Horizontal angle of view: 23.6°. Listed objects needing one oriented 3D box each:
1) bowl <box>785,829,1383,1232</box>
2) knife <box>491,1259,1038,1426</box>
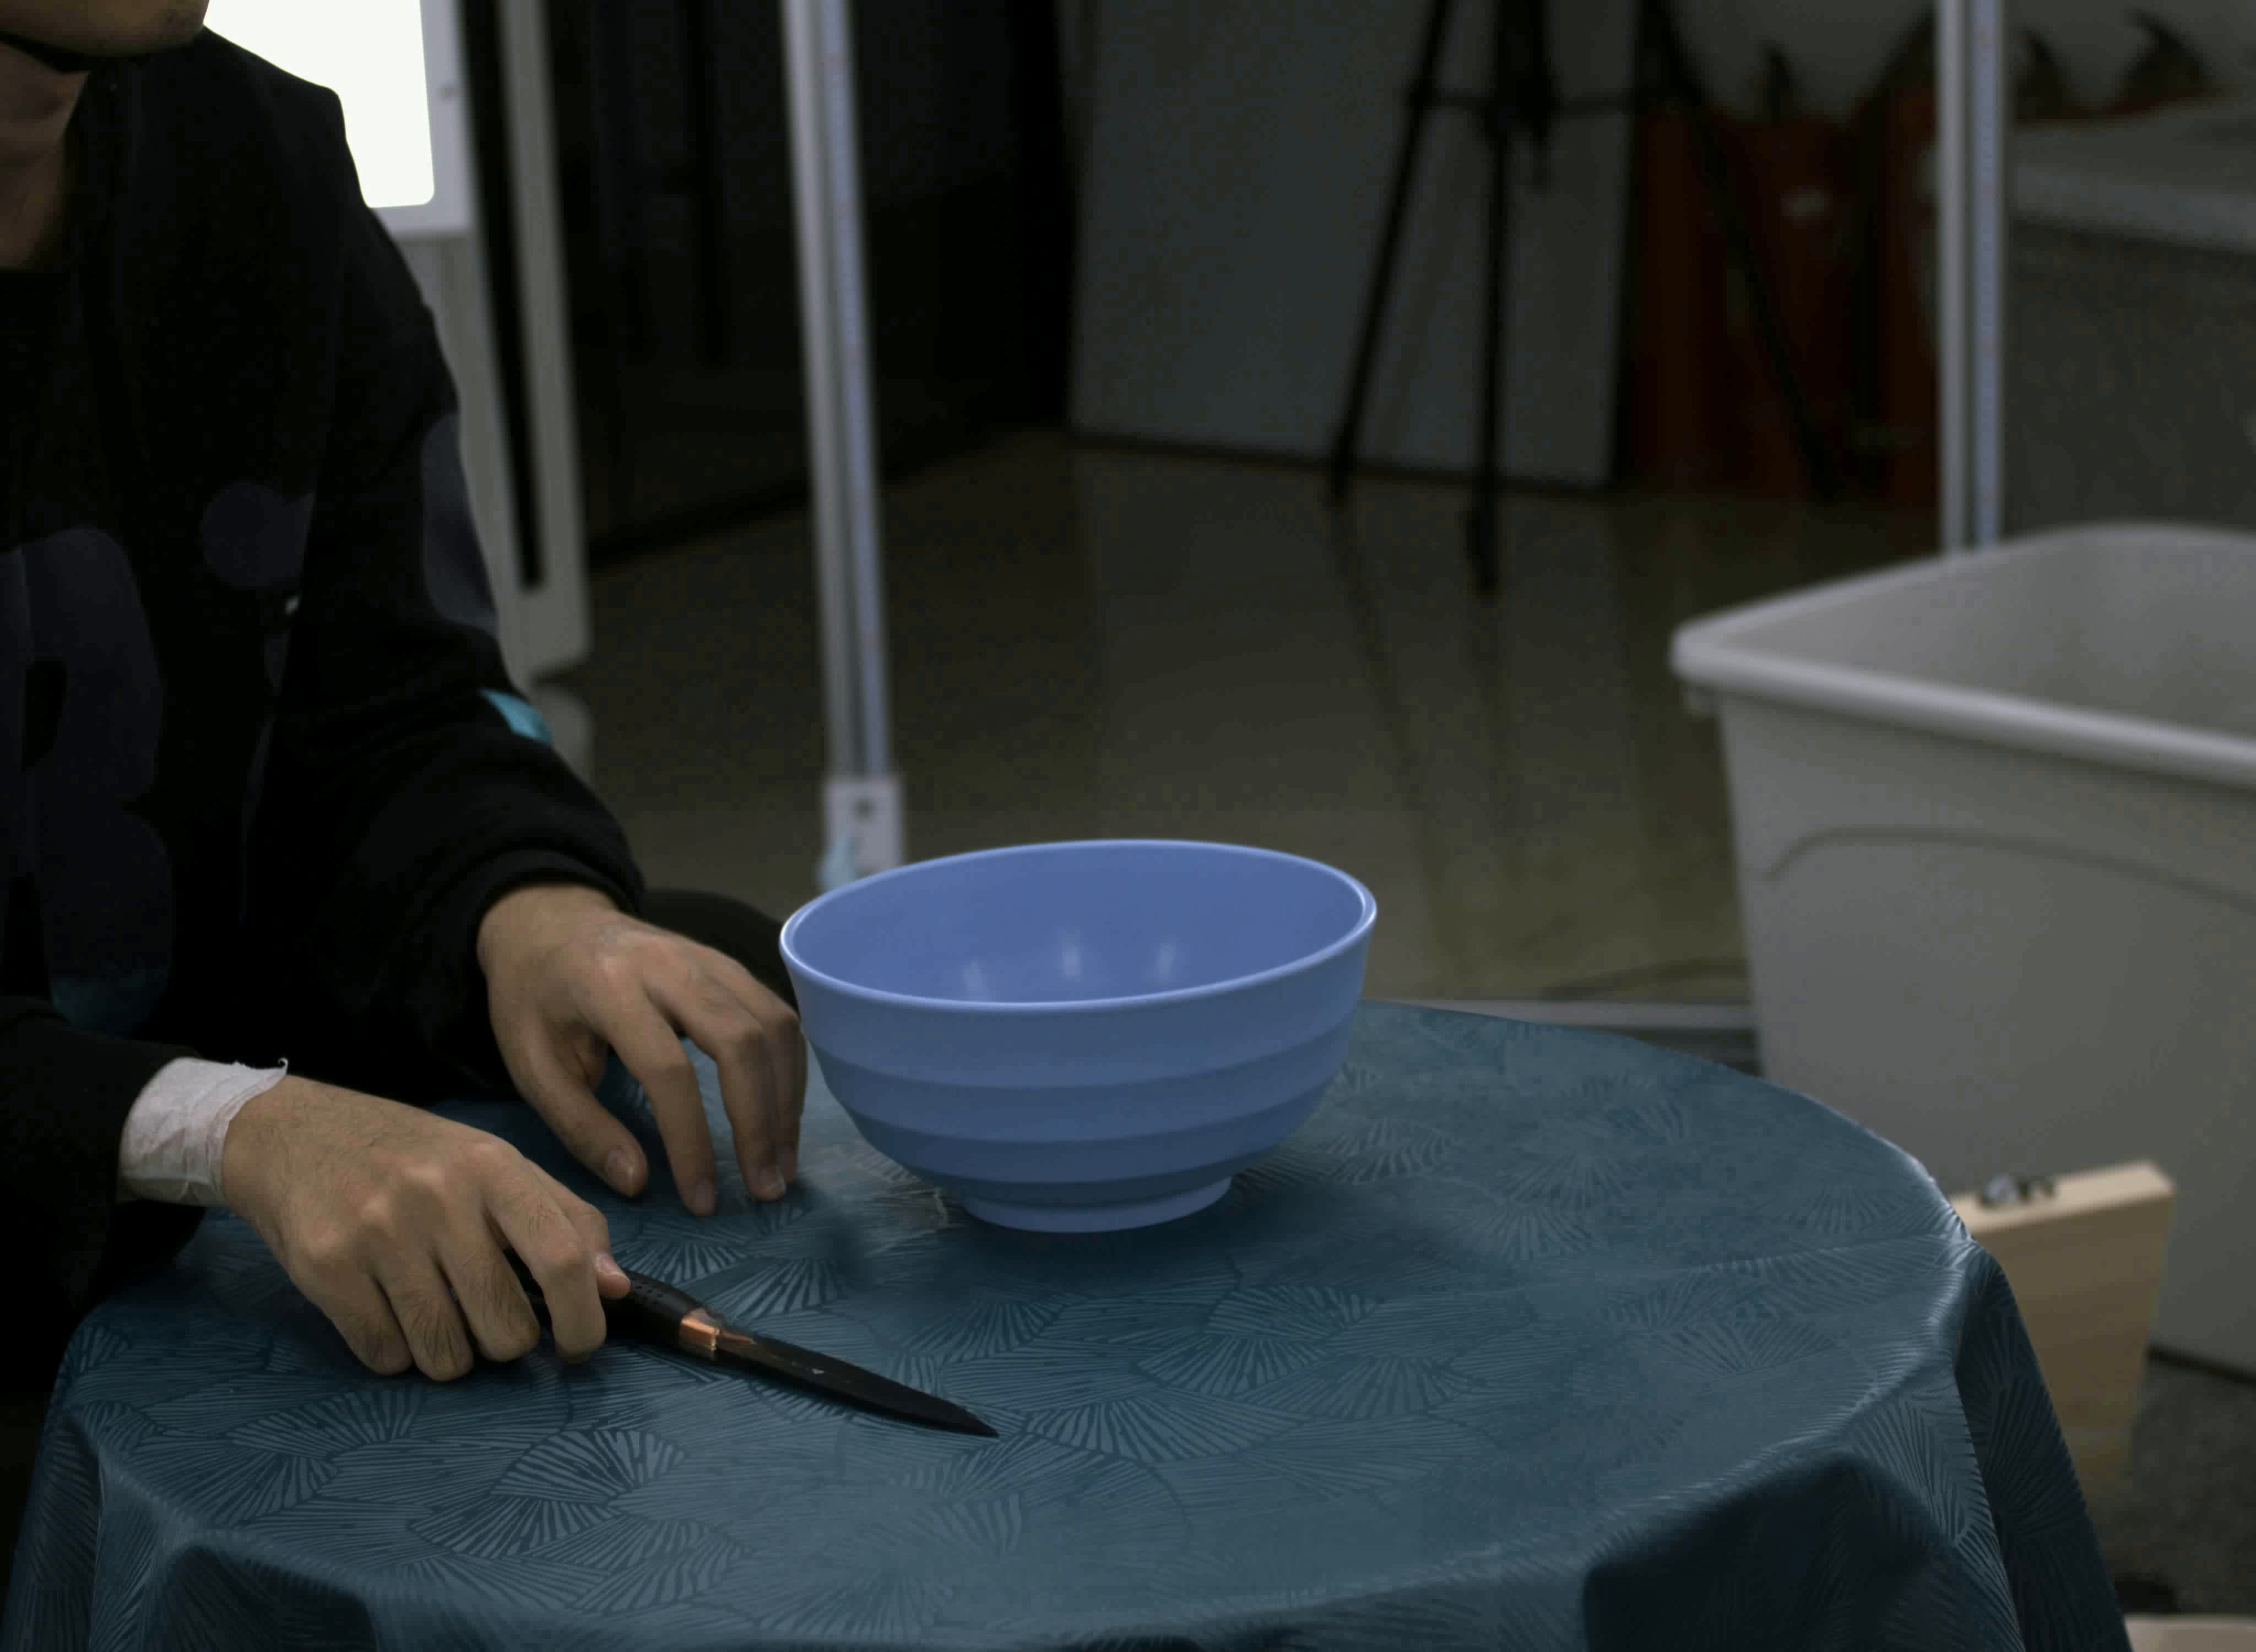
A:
[{"bbox_3d":[-0.013,0.073,1.762,0.194,0.096,0.197,-2,15,0],"label":"bowl"},{"bbox_3d":[-0.113,0.158,1.634,0.227,0.017,0.025,10,14,42],"label":"knife"}]
